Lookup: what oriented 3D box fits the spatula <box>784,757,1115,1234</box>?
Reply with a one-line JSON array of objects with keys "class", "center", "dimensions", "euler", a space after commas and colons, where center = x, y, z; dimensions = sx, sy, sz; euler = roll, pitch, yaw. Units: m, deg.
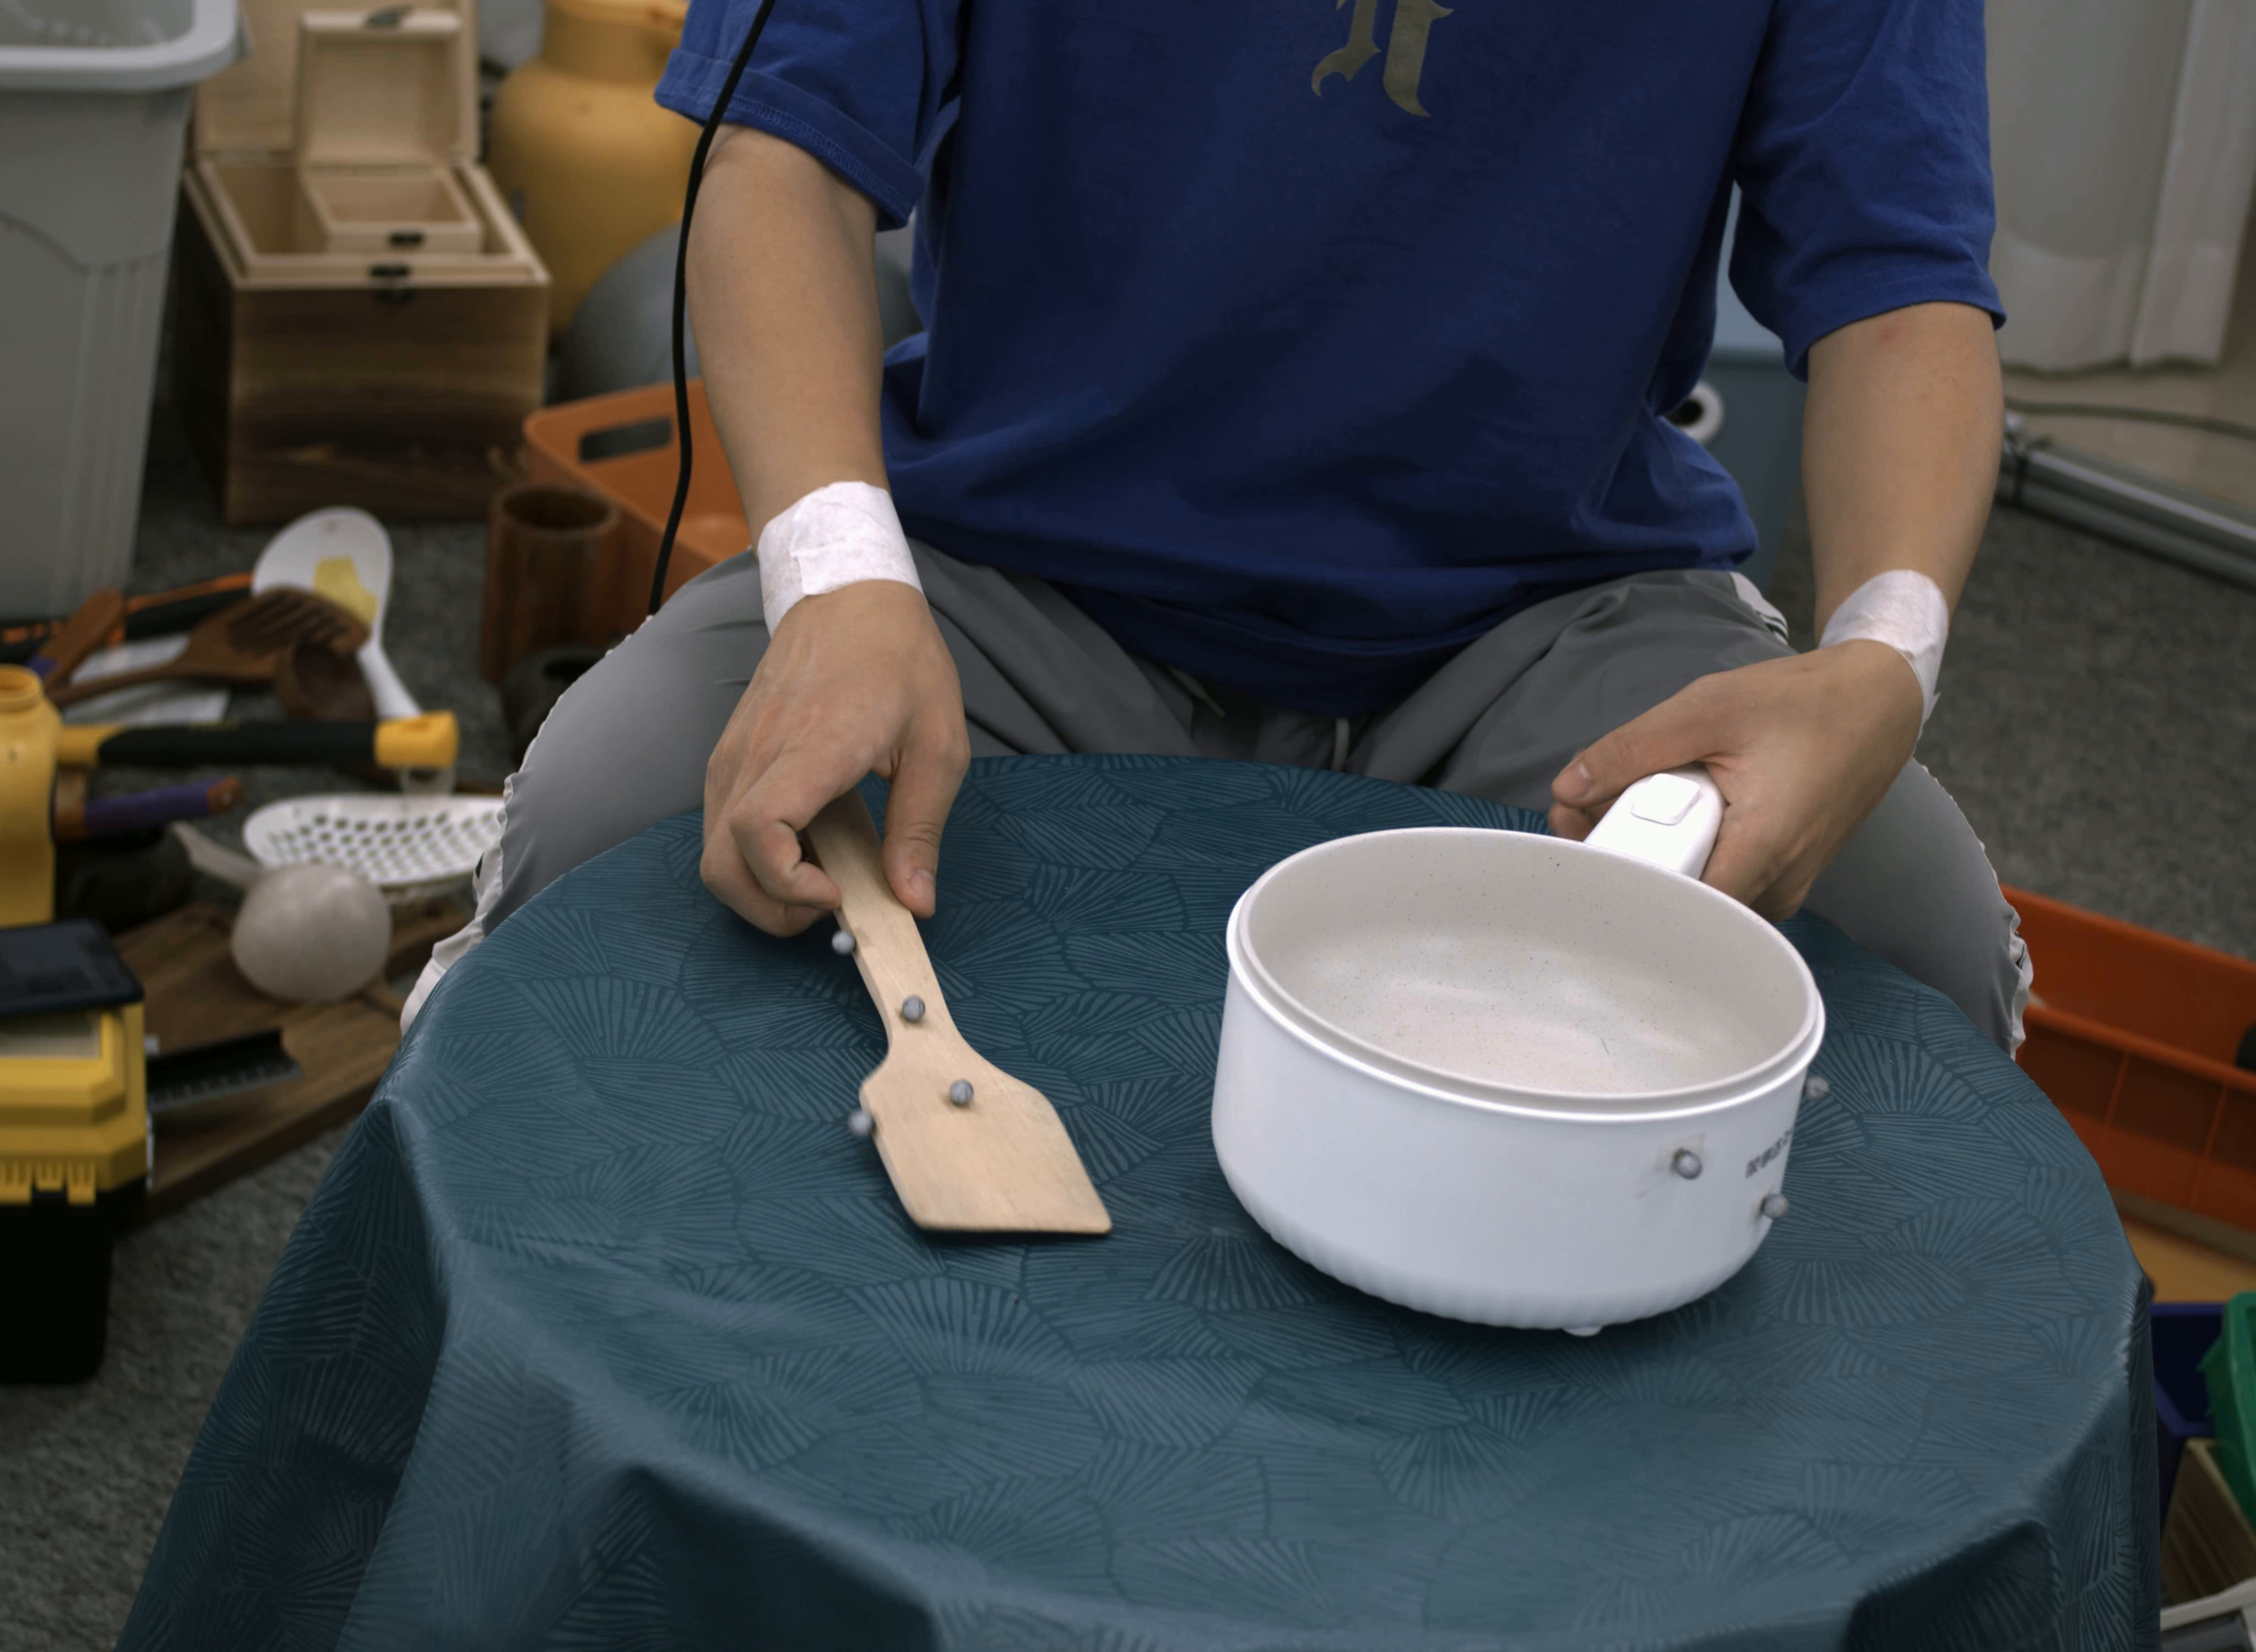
[{"class": "spatula", "center": [-0.078, 0.057, 1.882], "dimensions": [0.072, 0.010, 0.296], "euler": [0, 33, -20]}]

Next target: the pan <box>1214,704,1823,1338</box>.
[{"class": "pan", "center": [0.156, 0.062, 1.855], "dimensions": [0.202, 0.102, 0.355], "euler": [14, 26, 18]}]
